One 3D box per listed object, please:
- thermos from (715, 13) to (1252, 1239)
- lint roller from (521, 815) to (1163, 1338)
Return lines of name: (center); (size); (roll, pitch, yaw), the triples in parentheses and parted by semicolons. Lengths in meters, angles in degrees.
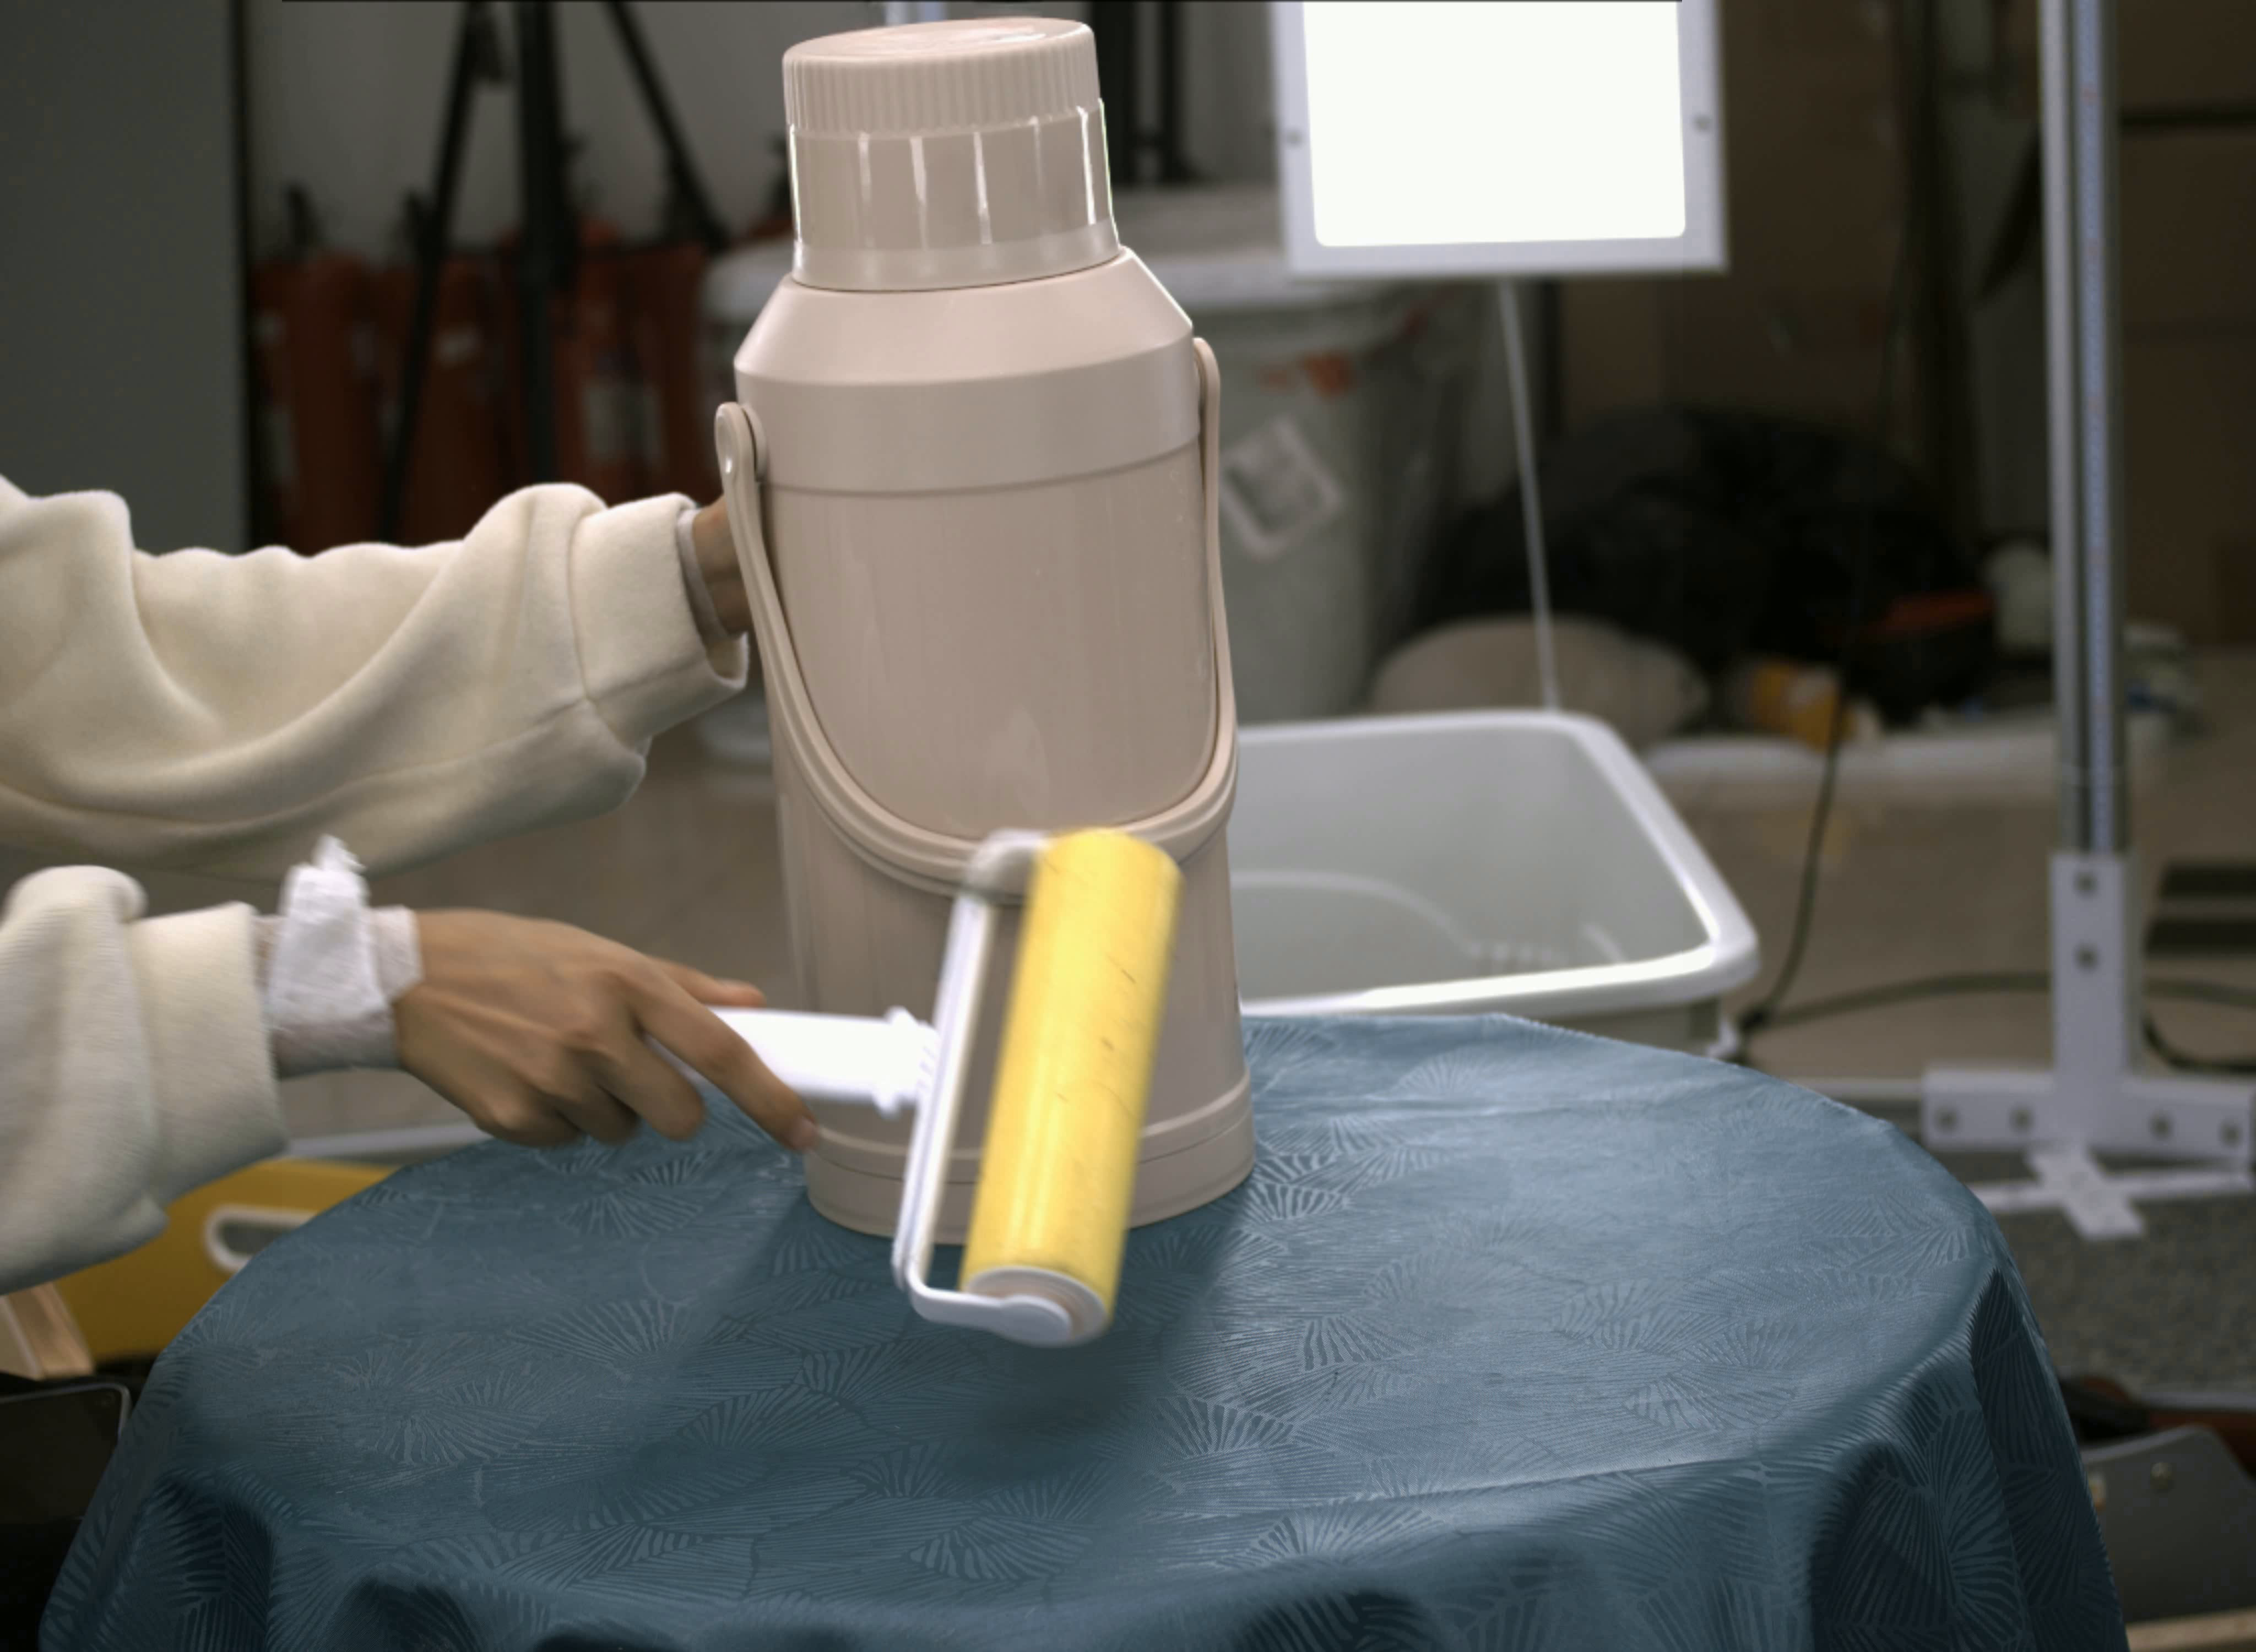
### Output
thermos: (-0.053, -0.072, 1.892); (0.172, 0.408, 0.210); (-10, 15, -20)
lint roller: (-0.091, 0.065, 1.700); (0.191, 0.173, 0.052); (10, -31, -3)
